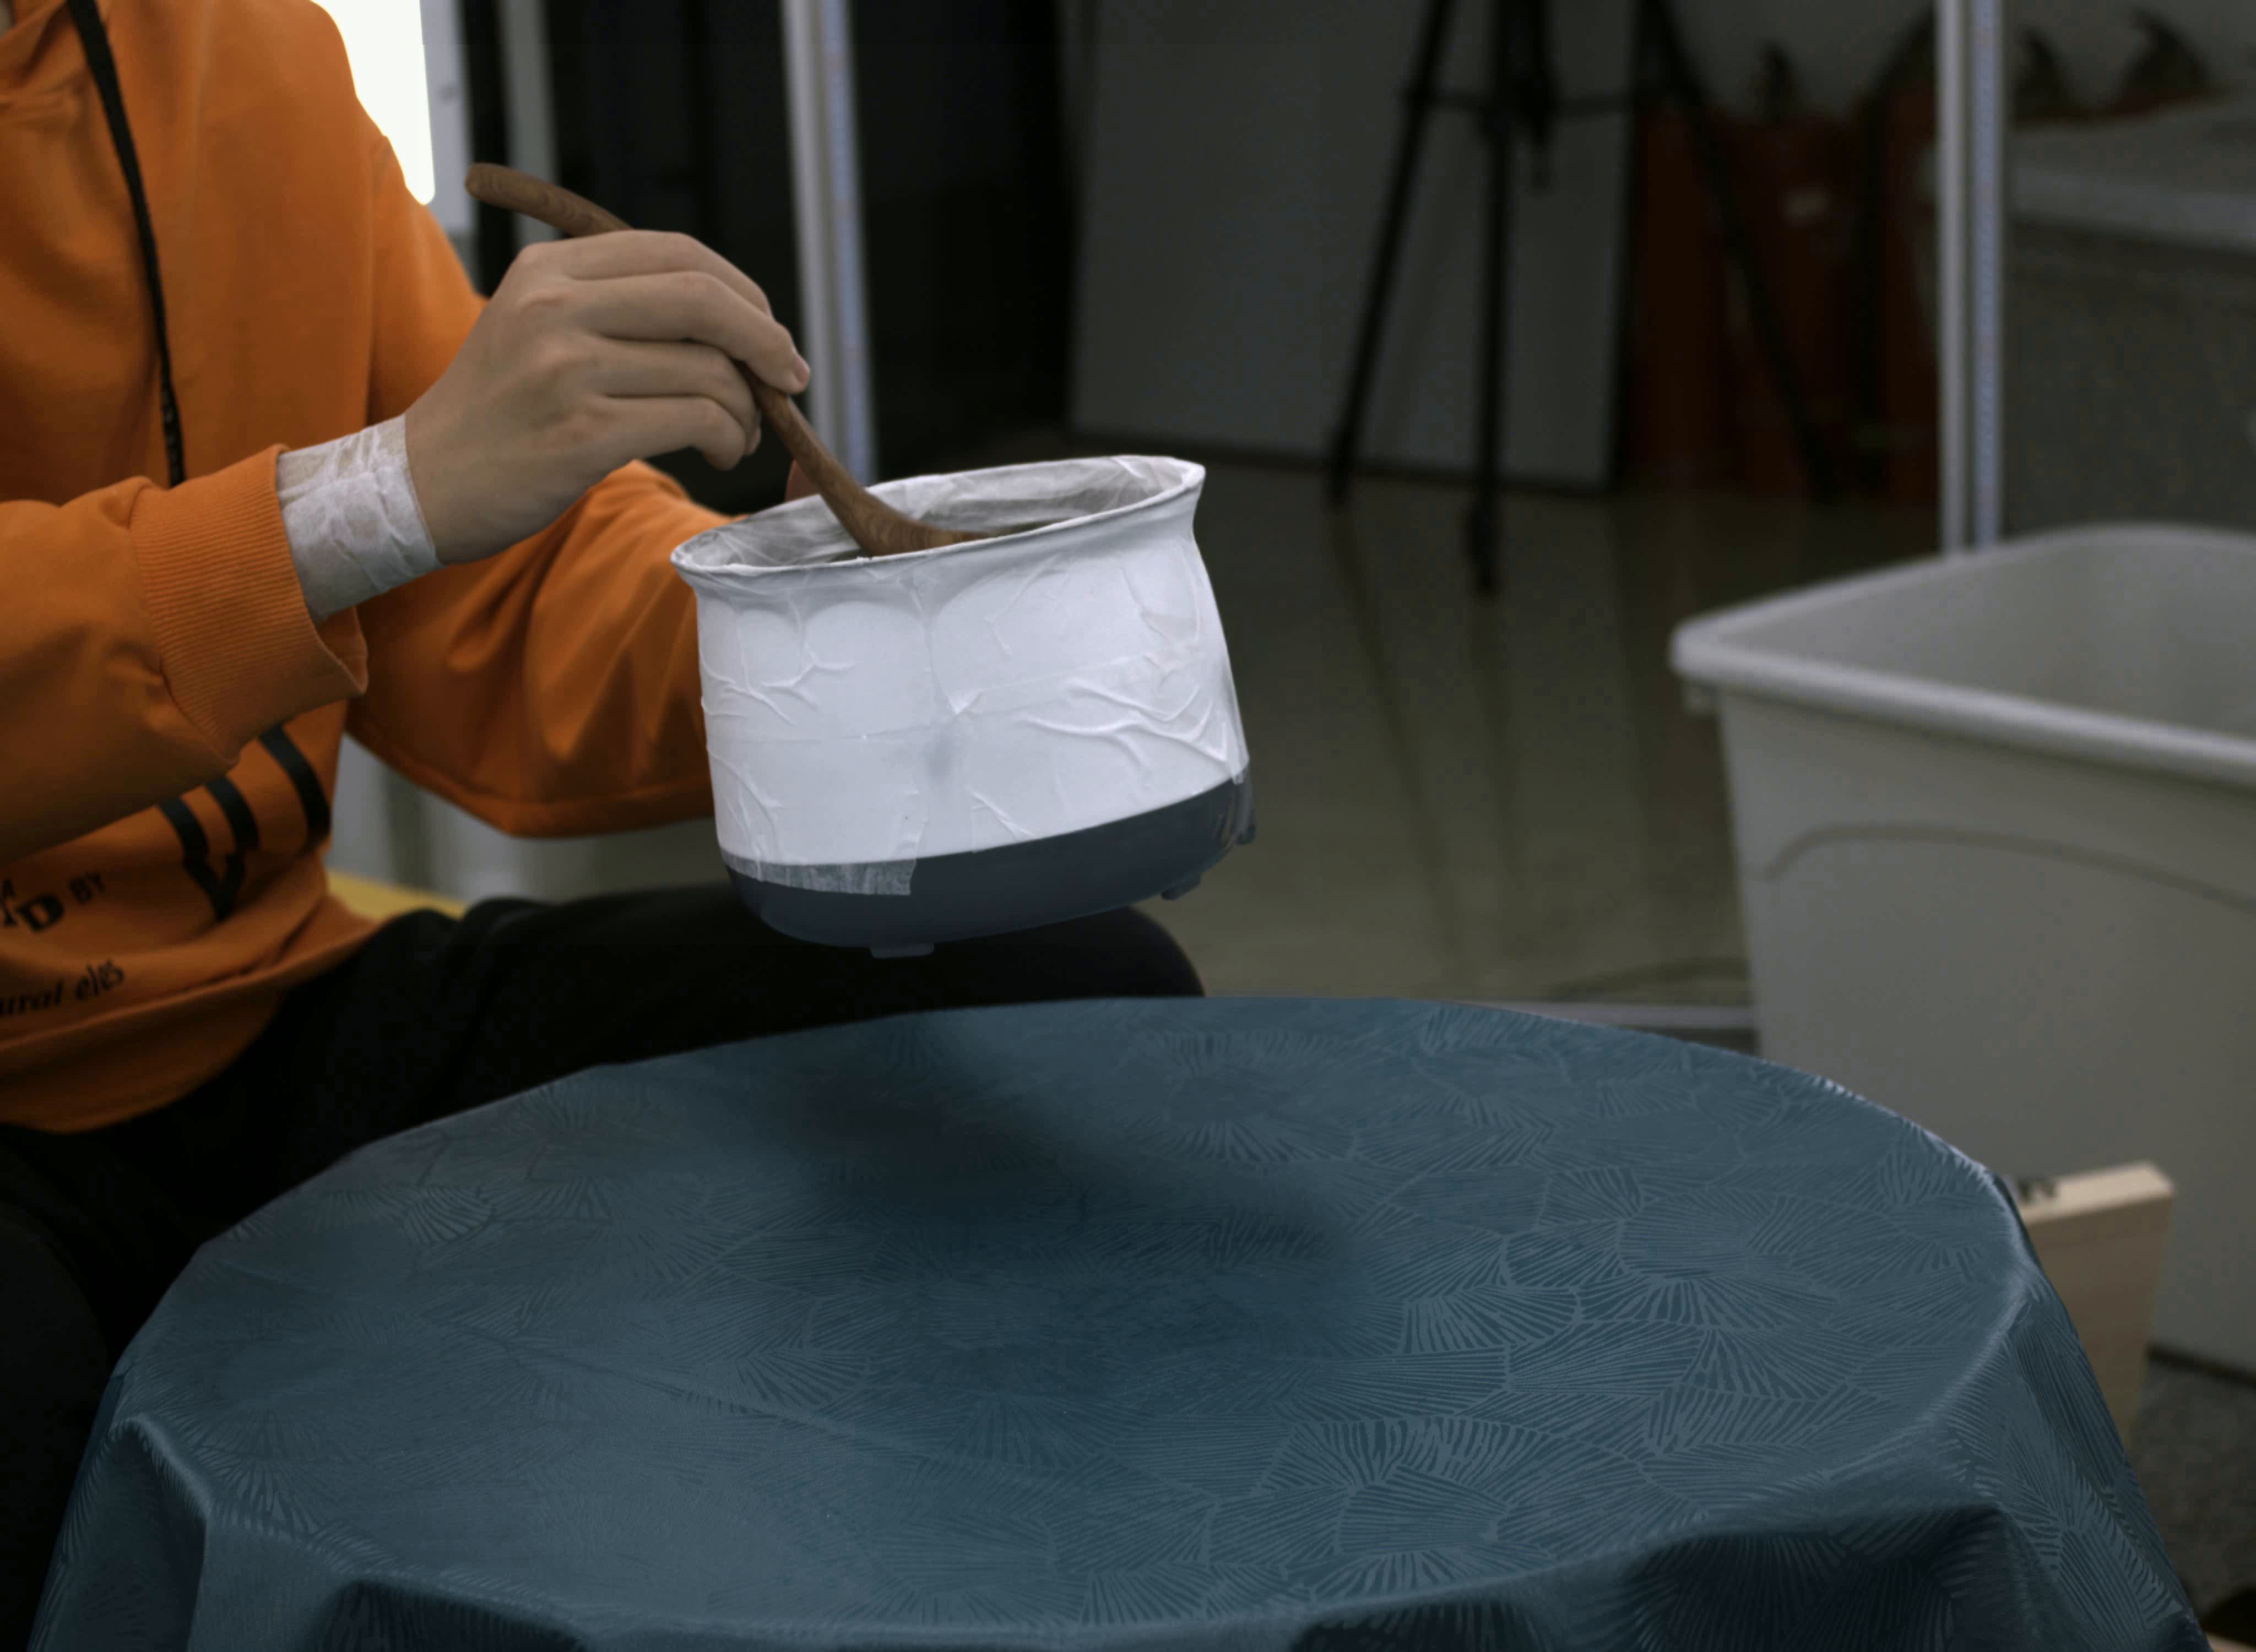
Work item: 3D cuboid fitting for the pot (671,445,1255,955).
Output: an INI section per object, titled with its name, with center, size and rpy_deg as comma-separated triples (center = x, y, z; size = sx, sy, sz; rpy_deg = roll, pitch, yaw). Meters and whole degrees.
[pot]
center = -0.061, -0.046, 1.782
size = 0.175, 0.138, 0.236
rpy_deg = -12, 11, -17

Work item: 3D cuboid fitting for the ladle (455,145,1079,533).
[ladle]
center = -0.111, -0.158, 1.795
size = 0.261, 0.065, 0.076
rpy_deg = 42, 2, 9
